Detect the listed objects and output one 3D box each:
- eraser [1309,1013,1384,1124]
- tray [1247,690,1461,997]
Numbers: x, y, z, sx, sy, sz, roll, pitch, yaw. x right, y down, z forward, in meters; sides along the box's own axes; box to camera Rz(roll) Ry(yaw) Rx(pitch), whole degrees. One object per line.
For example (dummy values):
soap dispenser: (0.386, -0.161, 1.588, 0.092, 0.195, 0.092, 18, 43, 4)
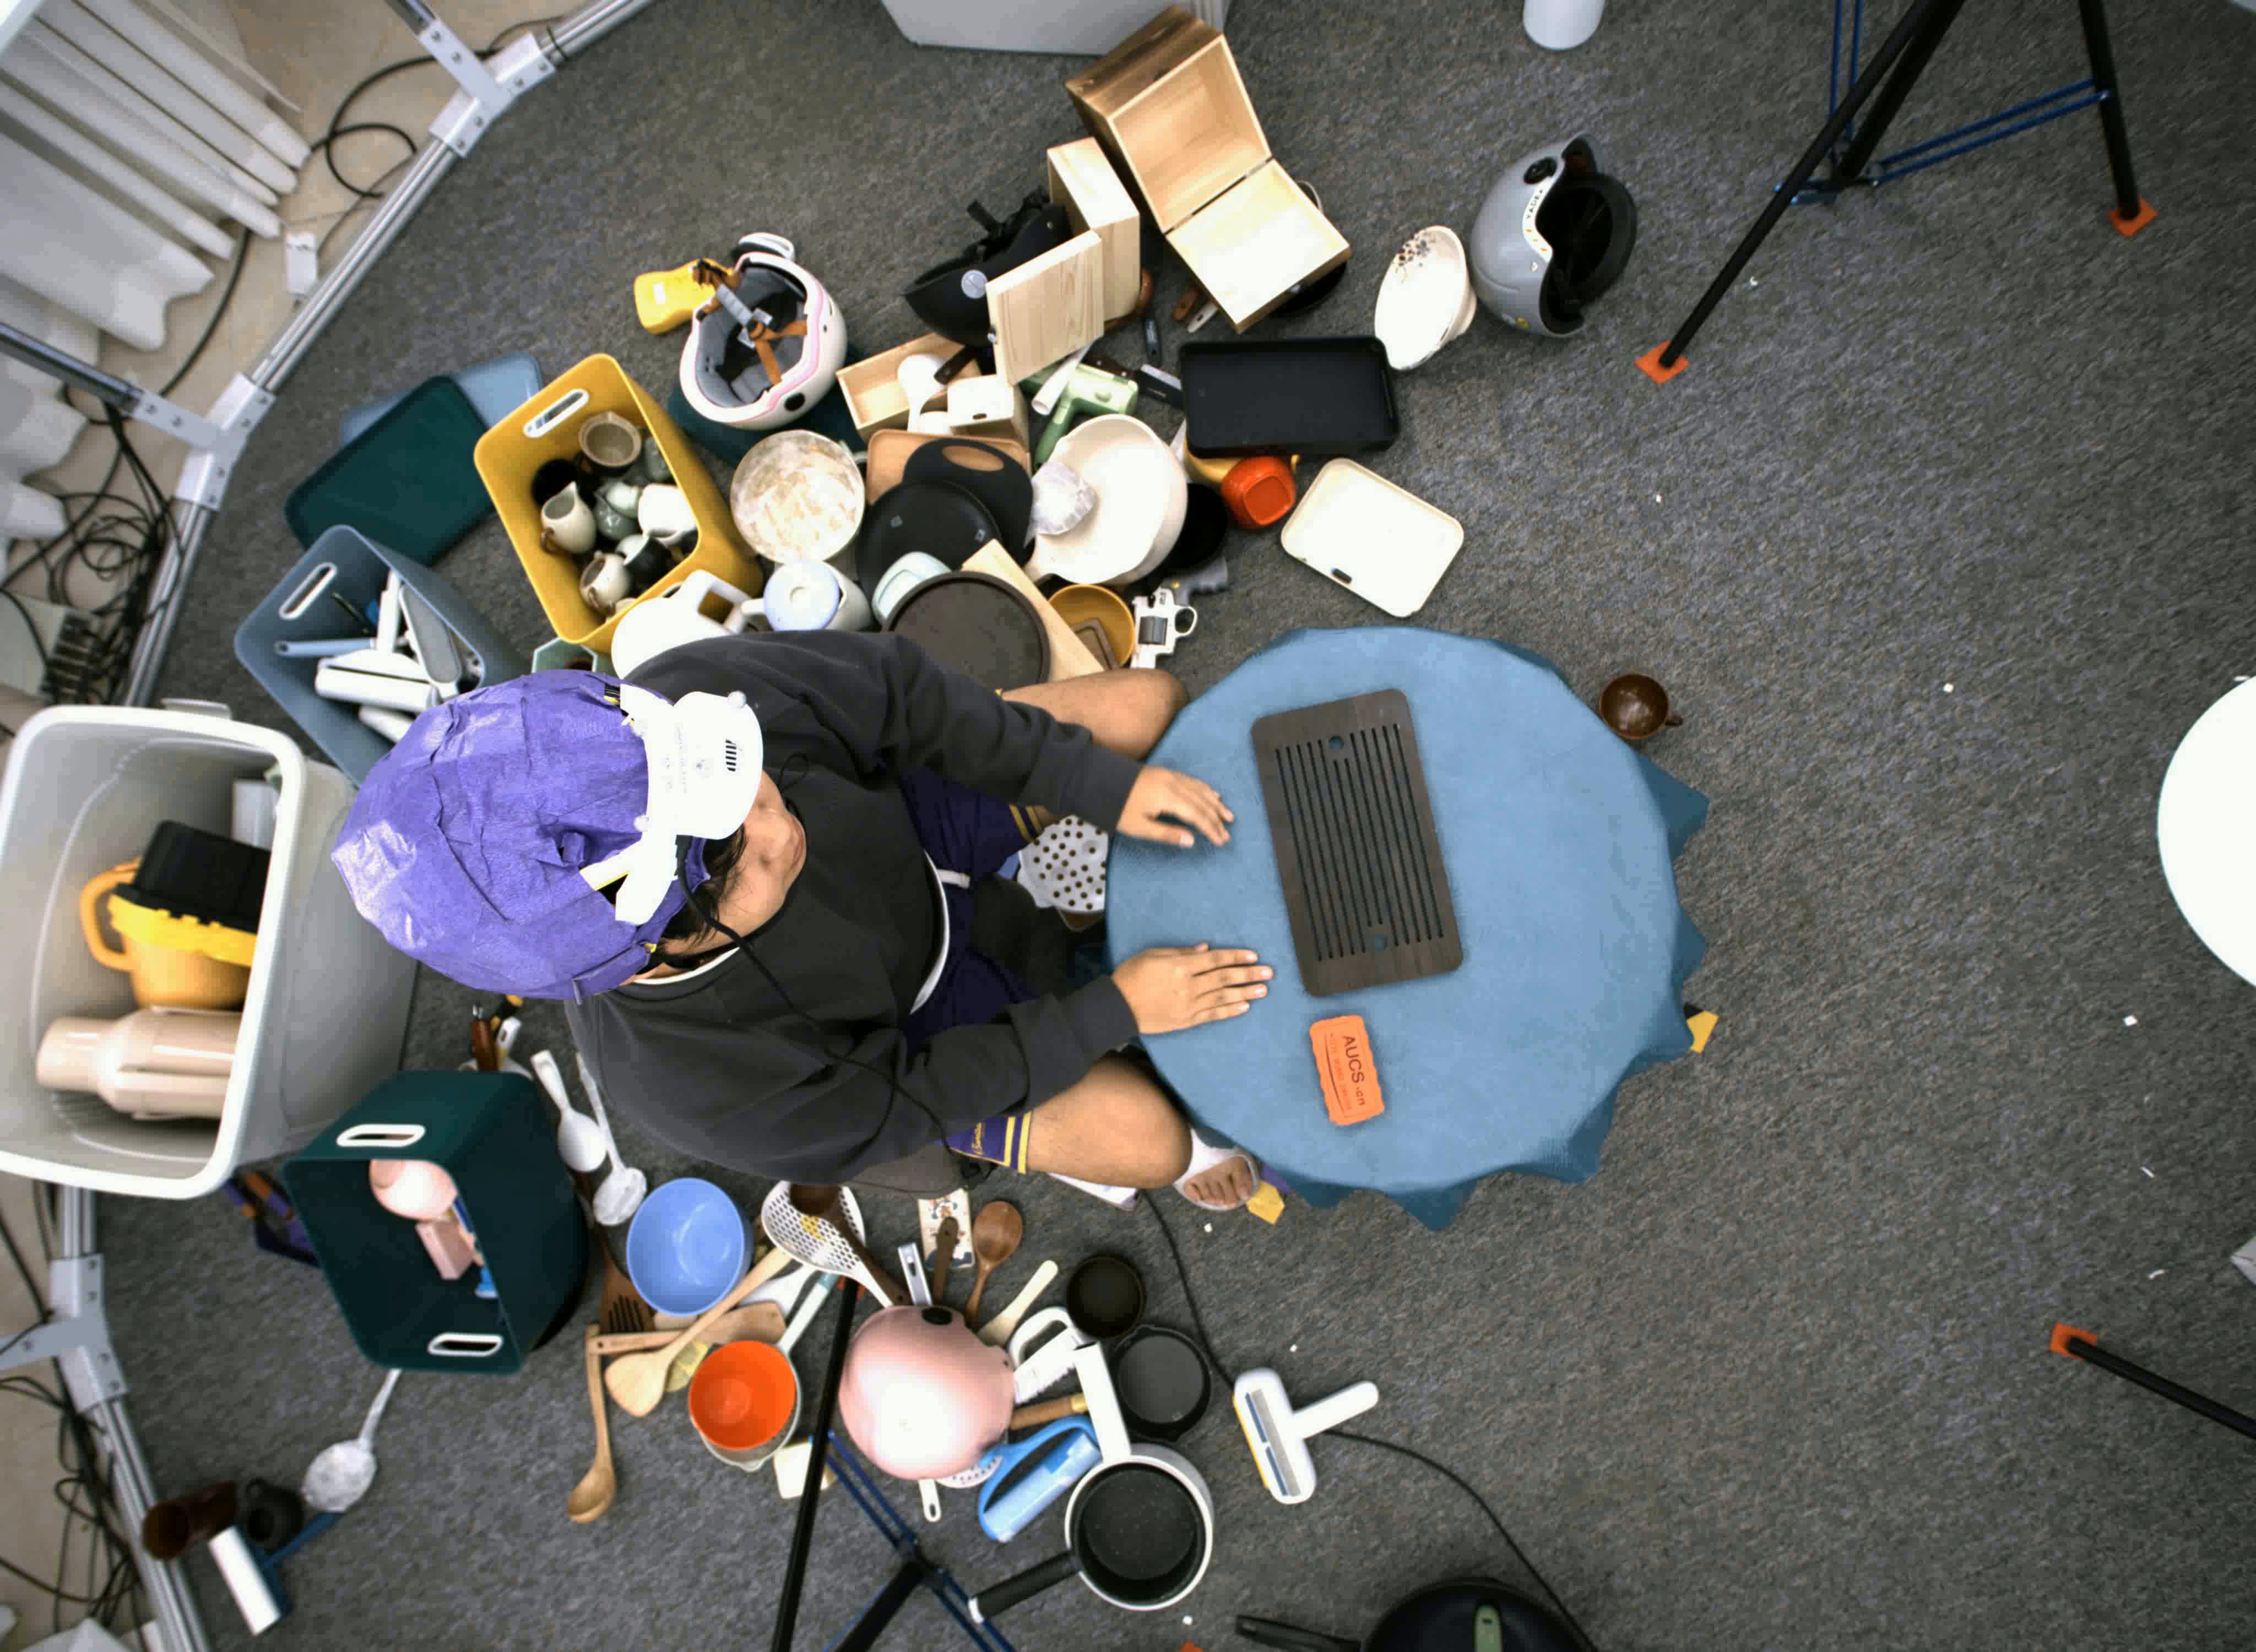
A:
eraser: (0.227, 0.251, 1.442, 0.059, 0.023, 0.107, -14, 86, 9)
tray: (0.237, 0.017, 1.459, 0.171, 0.018, 0.304, -12, 85, 9)
